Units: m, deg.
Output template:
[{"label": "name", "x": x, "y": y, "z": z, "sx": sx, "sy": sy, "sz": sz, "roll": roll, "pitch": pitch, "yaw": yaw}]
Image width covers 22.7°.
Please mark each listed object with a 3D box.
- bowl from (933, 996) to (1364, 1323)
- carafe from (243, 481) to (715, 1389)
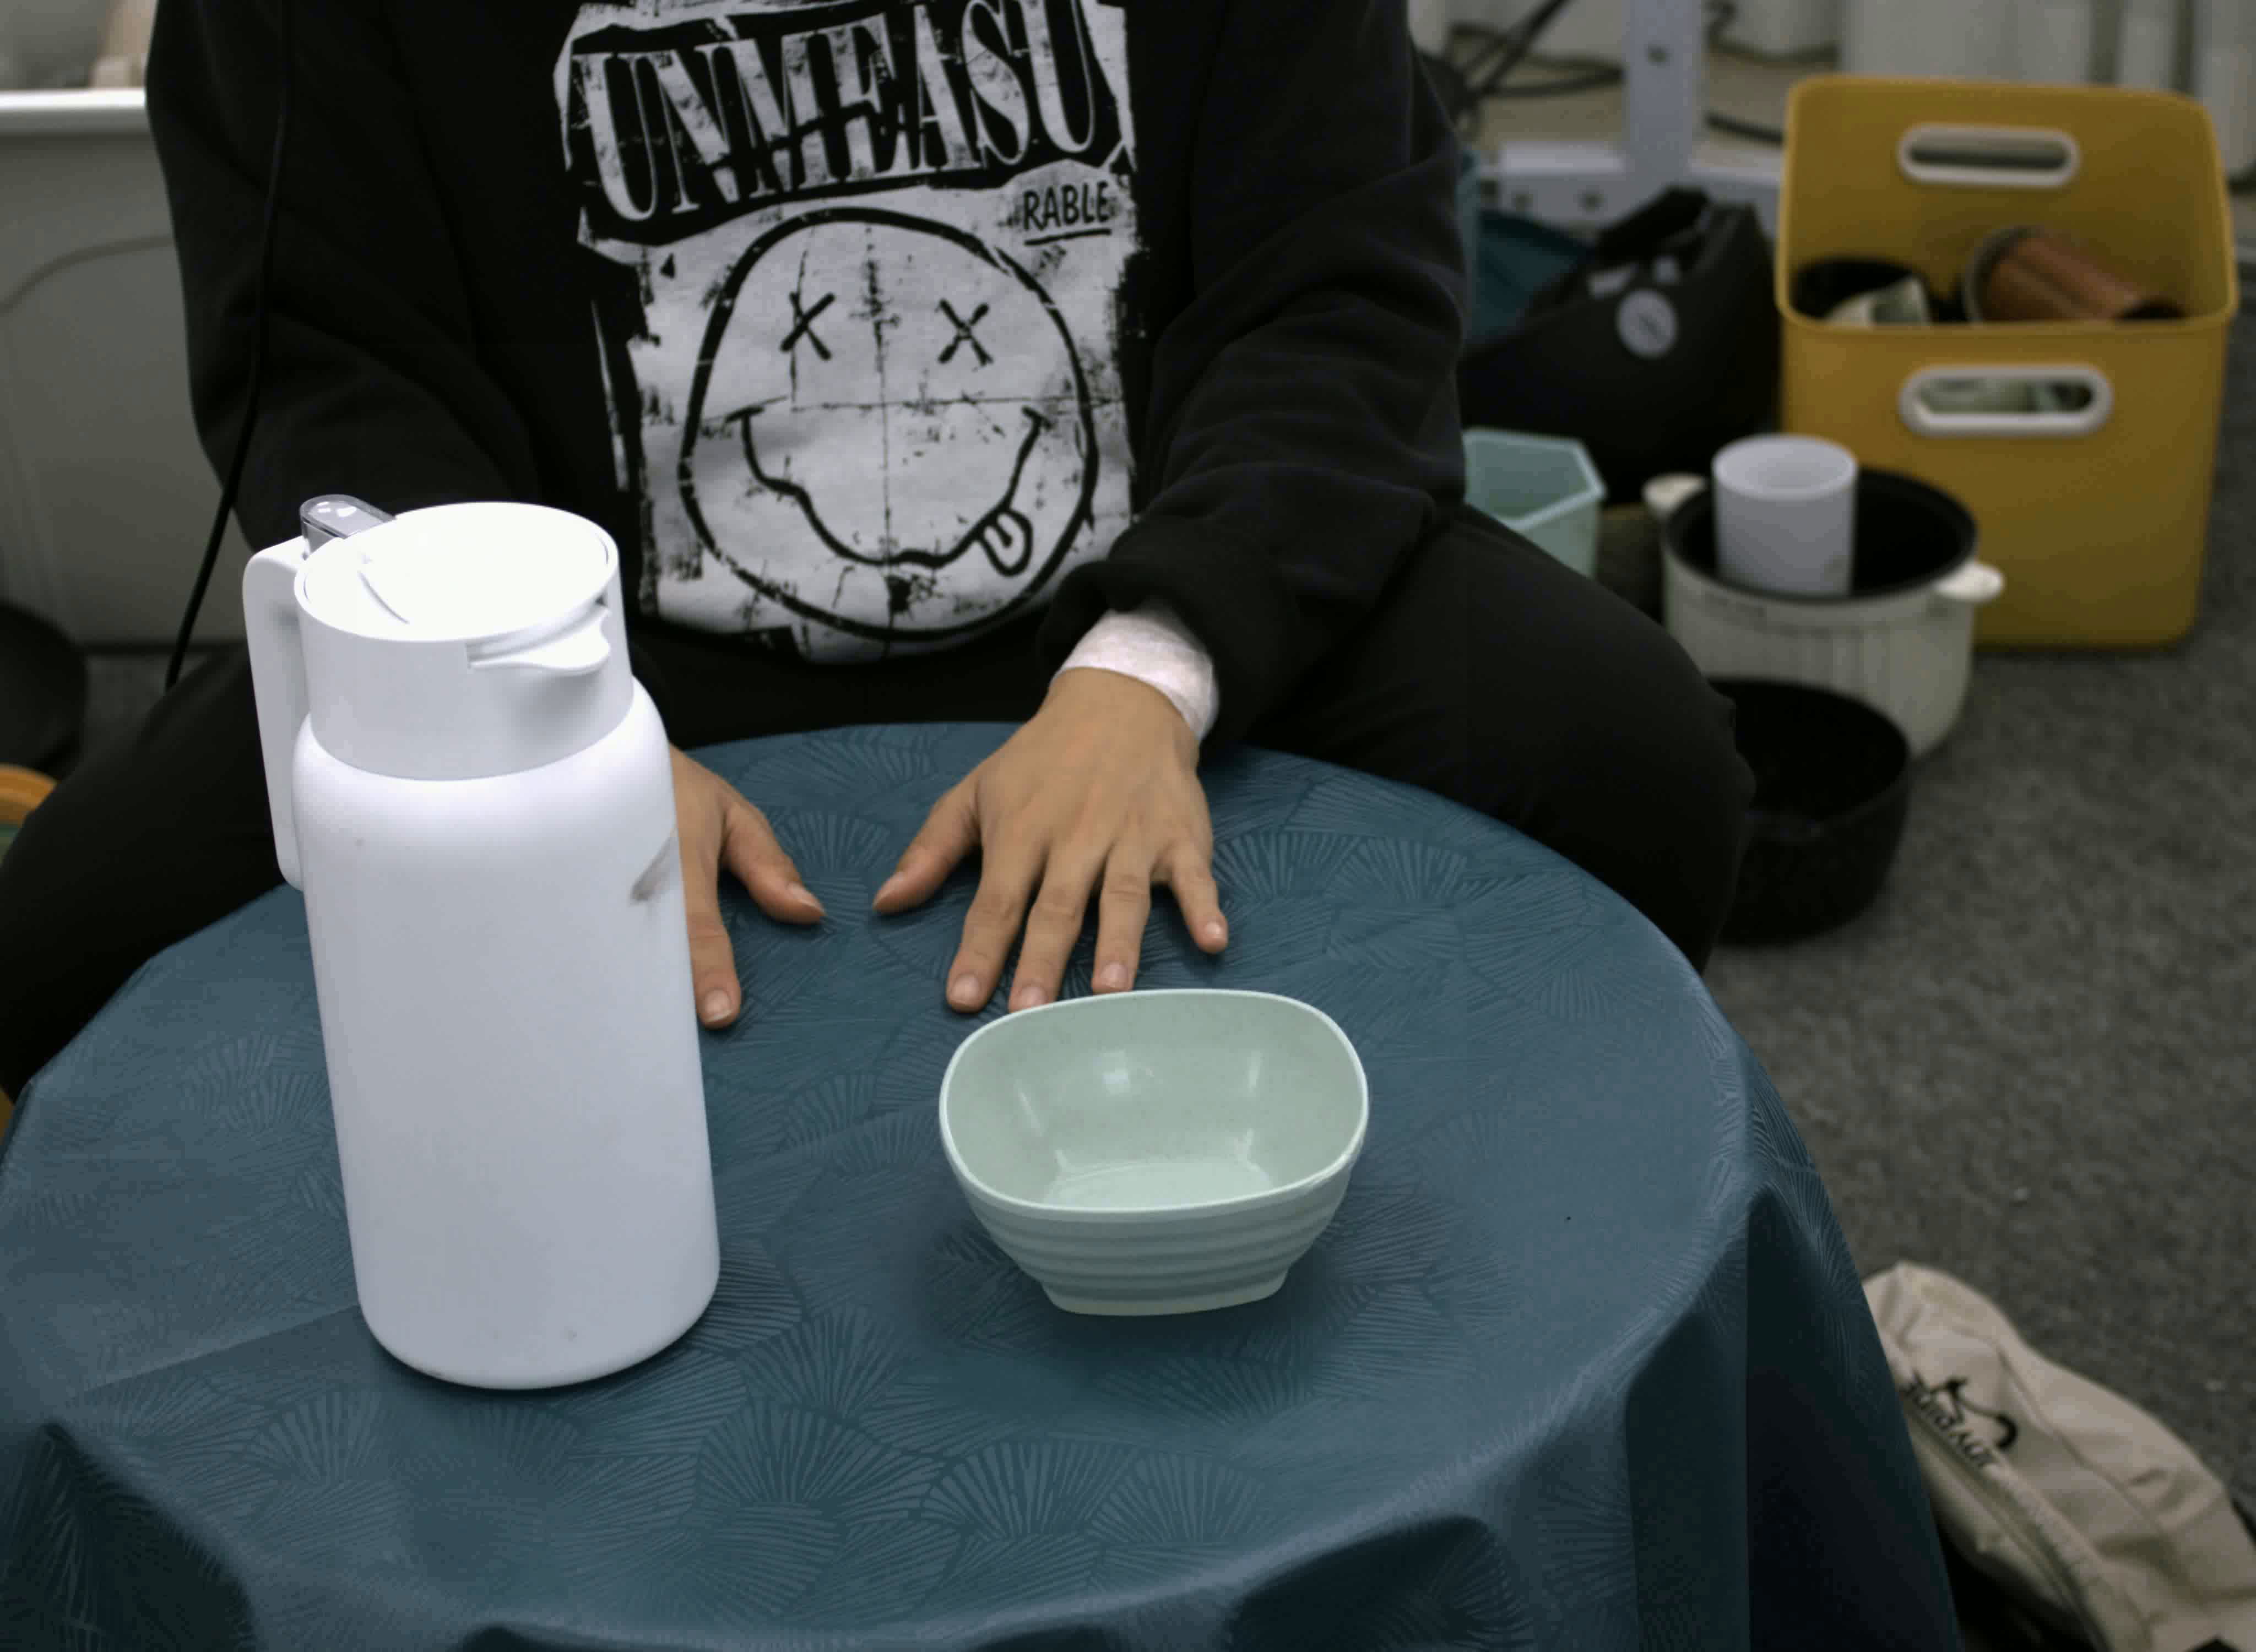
[{"label": "bowl", "x": 0.008, "y": 0.114, "z": 1.816, "sx": 0.151, "sy": 0.058, "sz": 0.154, "roll": -2, "pitch": 27, "yaw": 1}, {"label": "carafe", "x": -0.209, "y": 0.032, "z": 1.766, "sx": 0.125, "sy": 0.266, "sz": 0.172, "roll": -27, "pitch": 35, "yaw": -36}]
